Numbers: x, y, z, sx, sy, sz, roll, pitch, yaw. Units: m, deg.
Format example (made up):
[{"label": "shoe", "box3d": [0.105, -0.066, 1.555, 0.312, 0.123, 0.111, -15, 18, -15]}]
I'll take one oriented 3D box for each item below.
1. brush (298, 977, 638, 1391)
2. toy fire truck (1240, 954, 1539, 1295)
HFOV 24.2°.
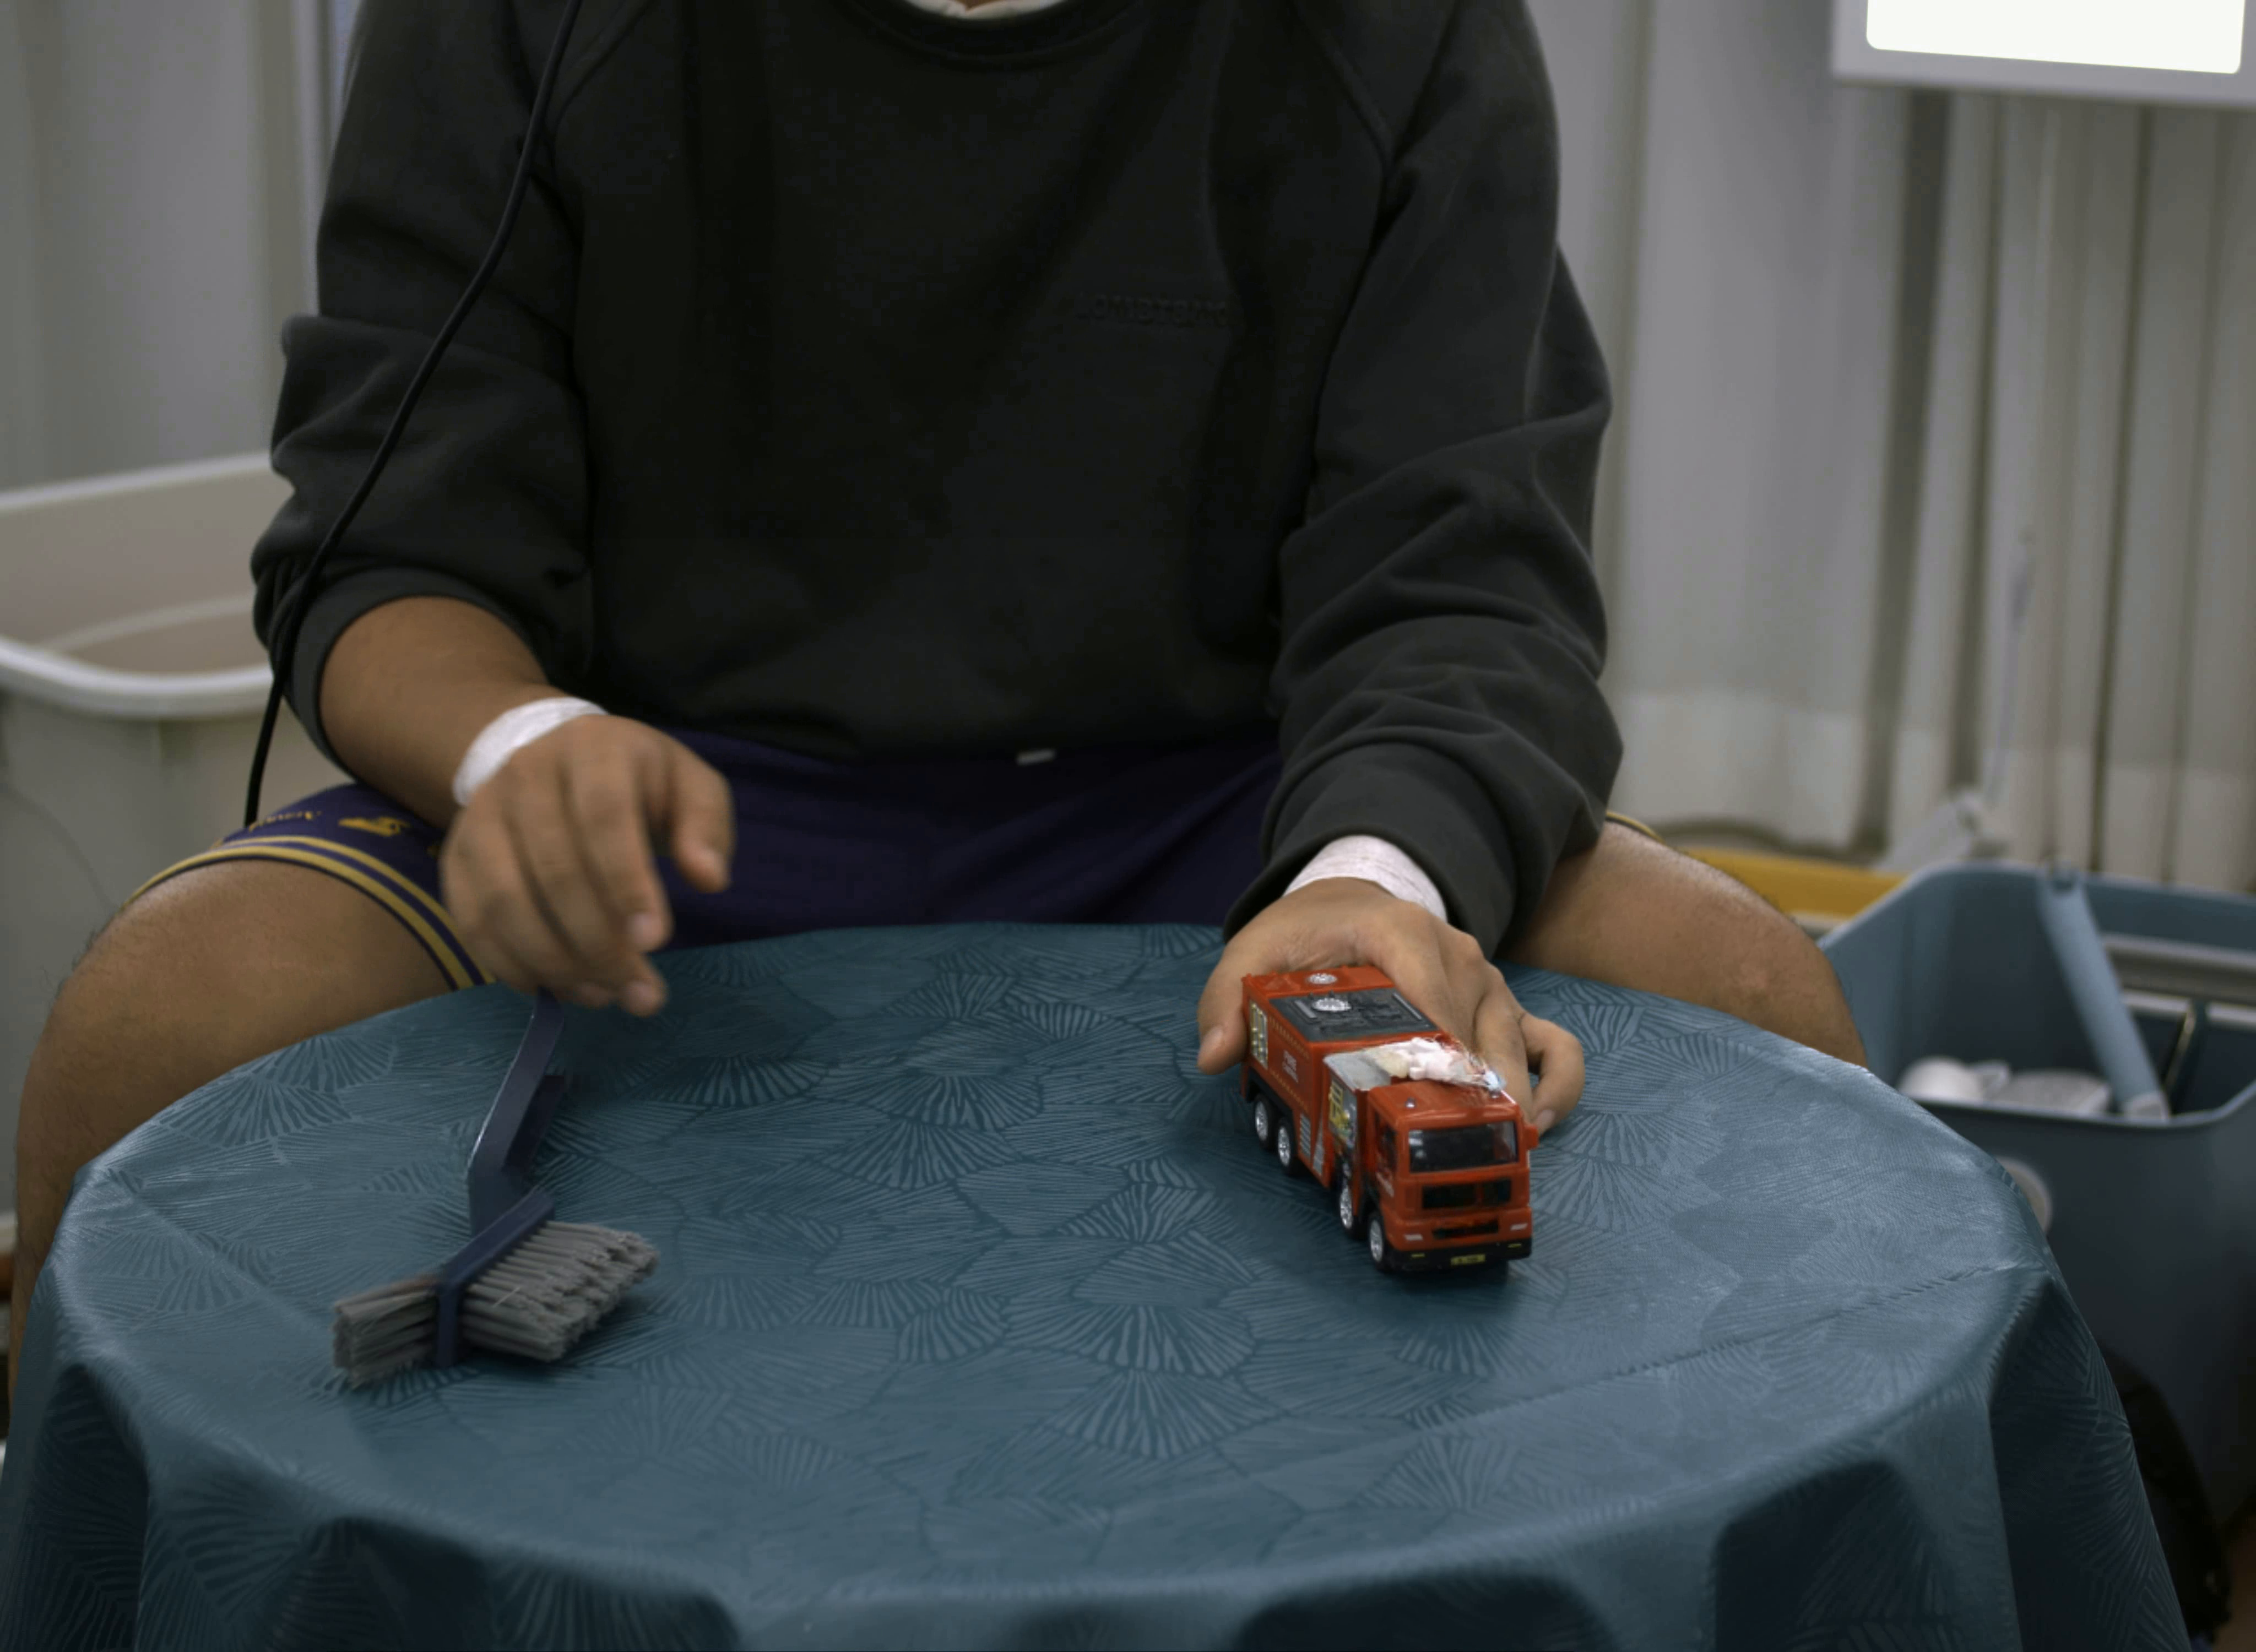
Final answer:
[{"label": "brush", "box3d": [-0.196, 0.104, 1.587, 0.095, 0.034, 0.271, -3, 17, -6]}, {"label": "toy fire truck", "box3d": [0.079, 0.087, 1.605, 0.054, 0.071, 0.166, -5, 16, -16]}]
